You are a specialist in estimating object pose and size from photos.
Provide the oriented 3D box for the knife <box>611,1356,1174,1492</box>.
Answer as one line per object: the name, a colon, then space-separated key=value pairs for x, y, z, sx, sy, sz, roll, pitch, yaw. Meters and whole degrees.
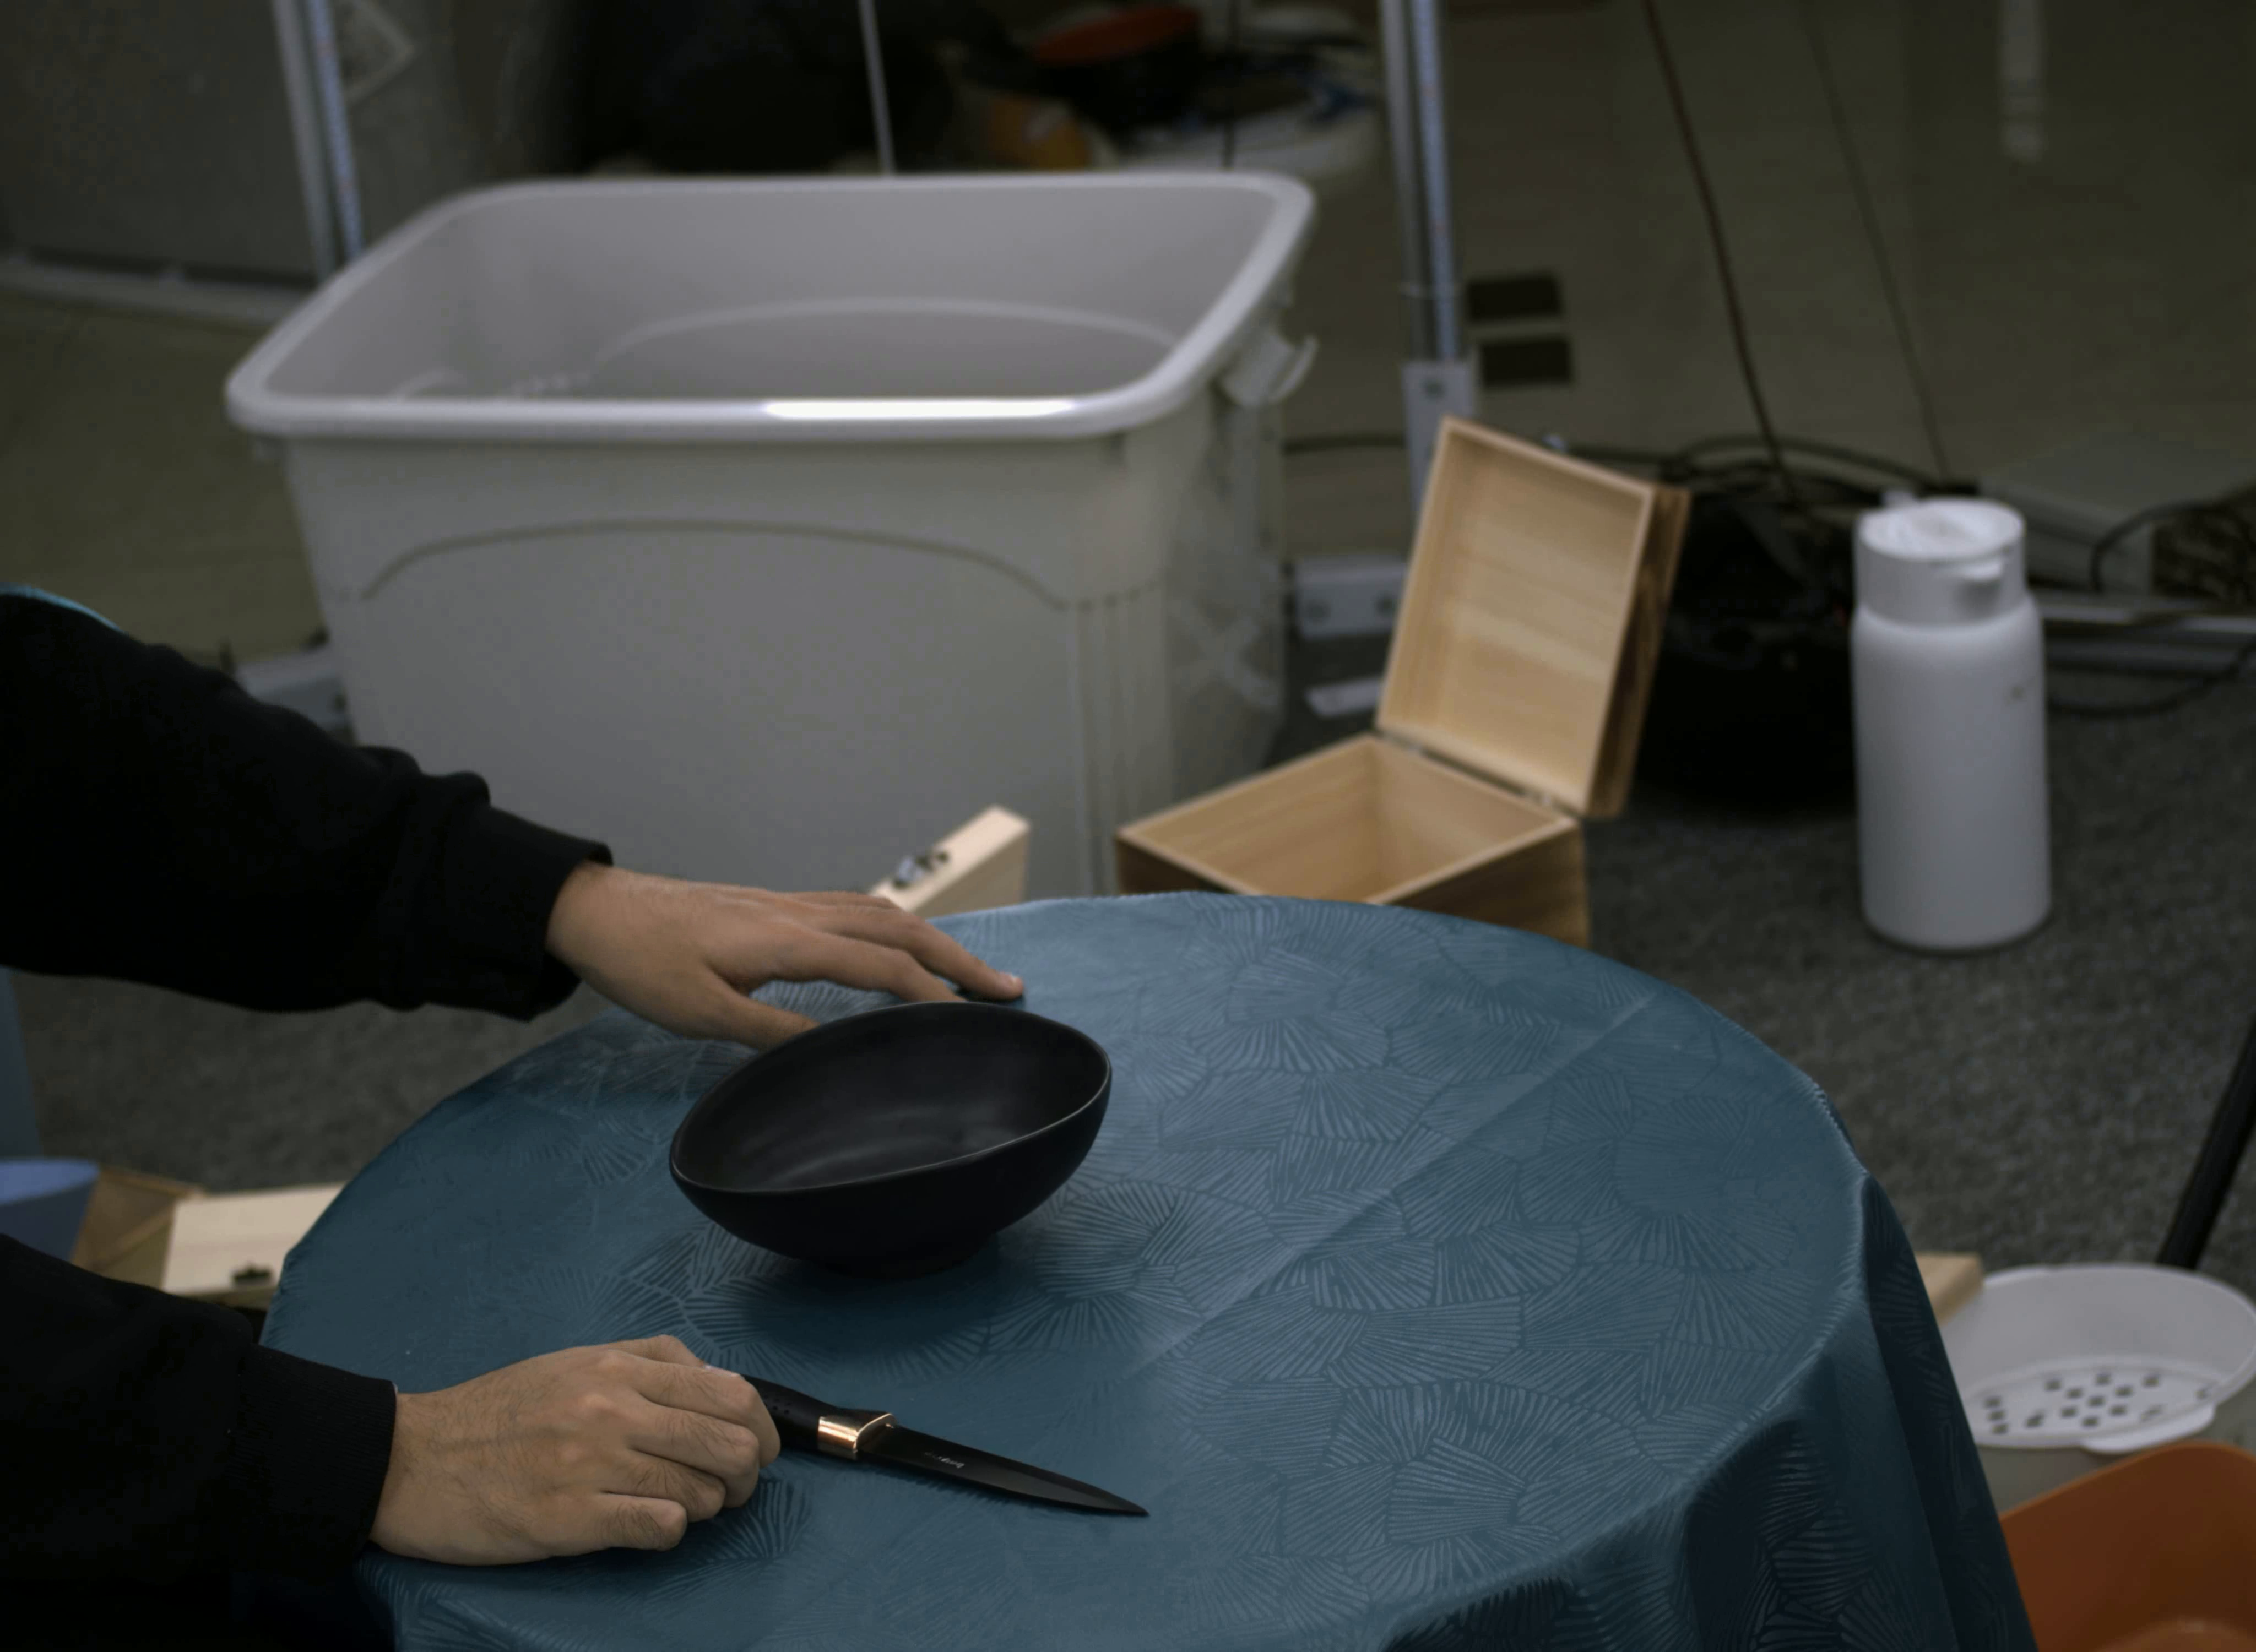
knife: x=-0.085 y=0.213 z=1.995 sx=0.224 sy=0.017 sz=0.026 roll=9 pitch=34 yaw=28

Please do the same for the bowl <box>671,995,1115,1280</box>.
bowl: x=-0.084 y=0.126 z=2.119 sx=0.170 sy=0.068 sz=0.135 roll=-14 pitch=26 yaw=-11
